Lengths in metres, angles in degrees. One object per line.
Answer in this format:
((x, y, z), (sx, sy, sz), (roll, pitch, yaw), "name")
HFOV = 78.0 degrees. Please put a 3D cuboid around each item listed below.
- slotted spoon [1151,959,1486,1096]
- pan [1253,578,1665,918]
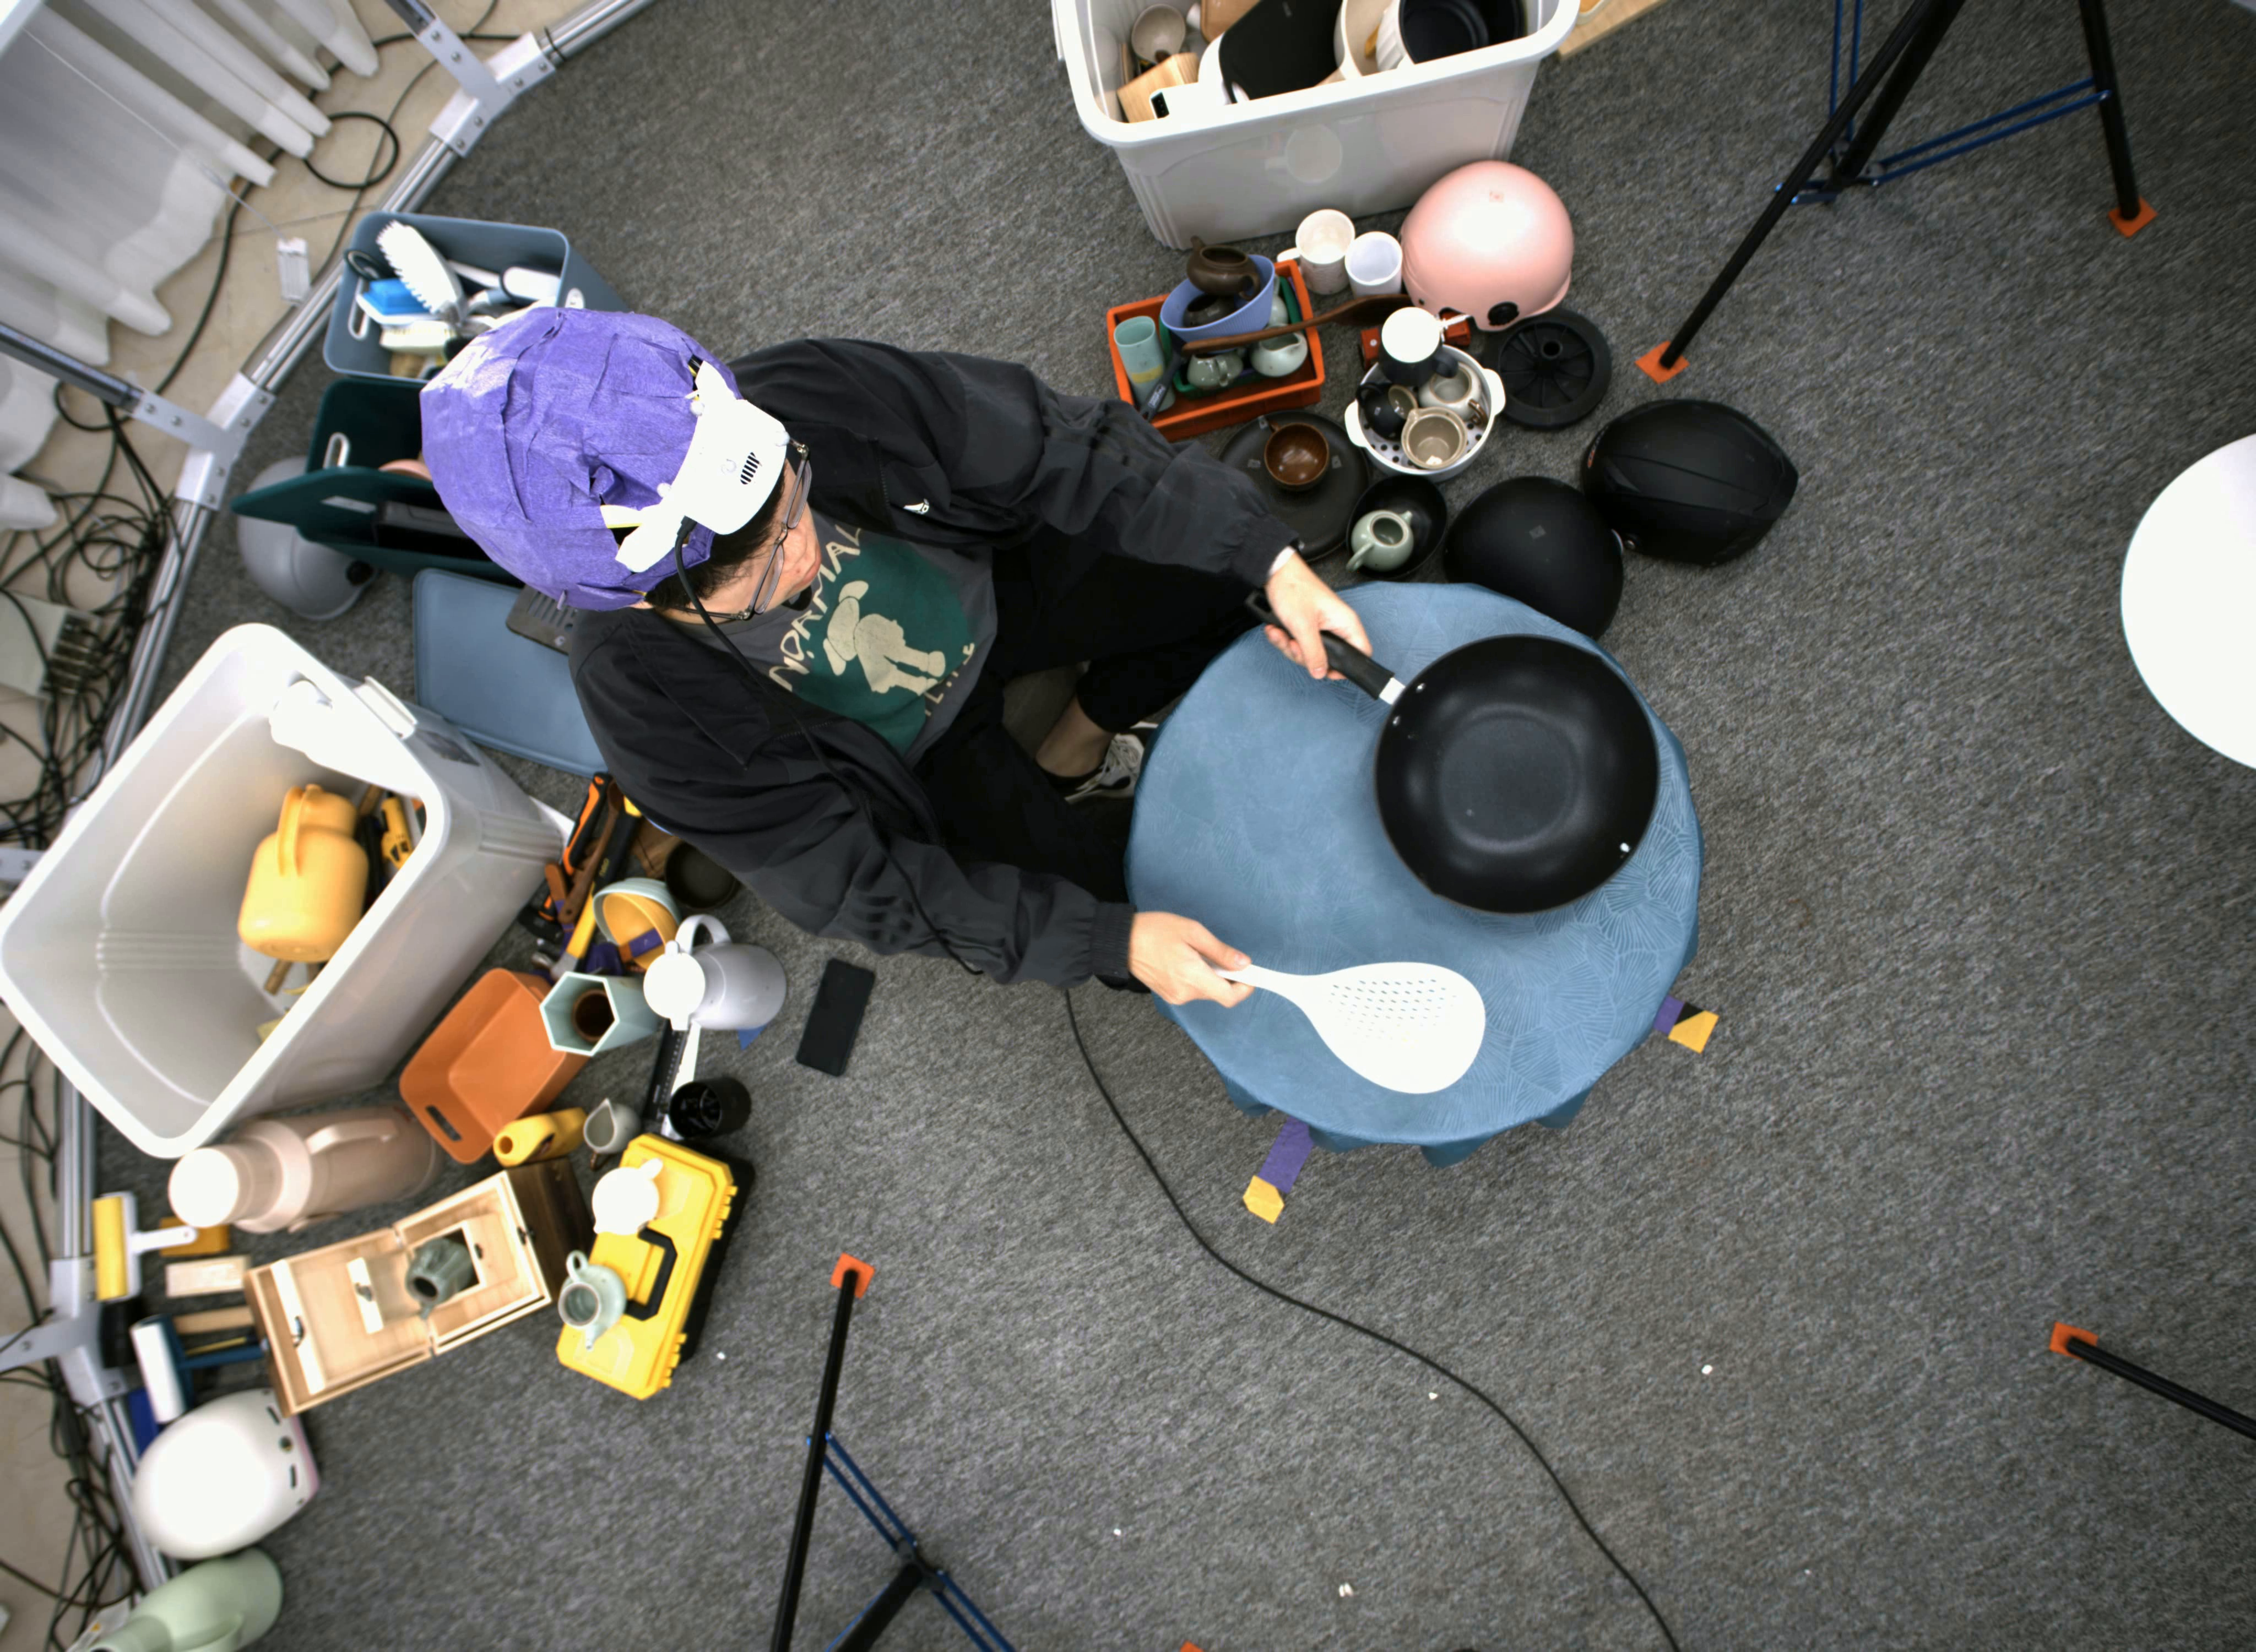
((0.179, 0.172, 1.370), (0.348, 0.051, 0.134), (17, 64, 22), "slotted spoon")
((0.319, -0.104, 1.406), (0.462, 0.086, 0.289), (36, 96, 8), "pan")
